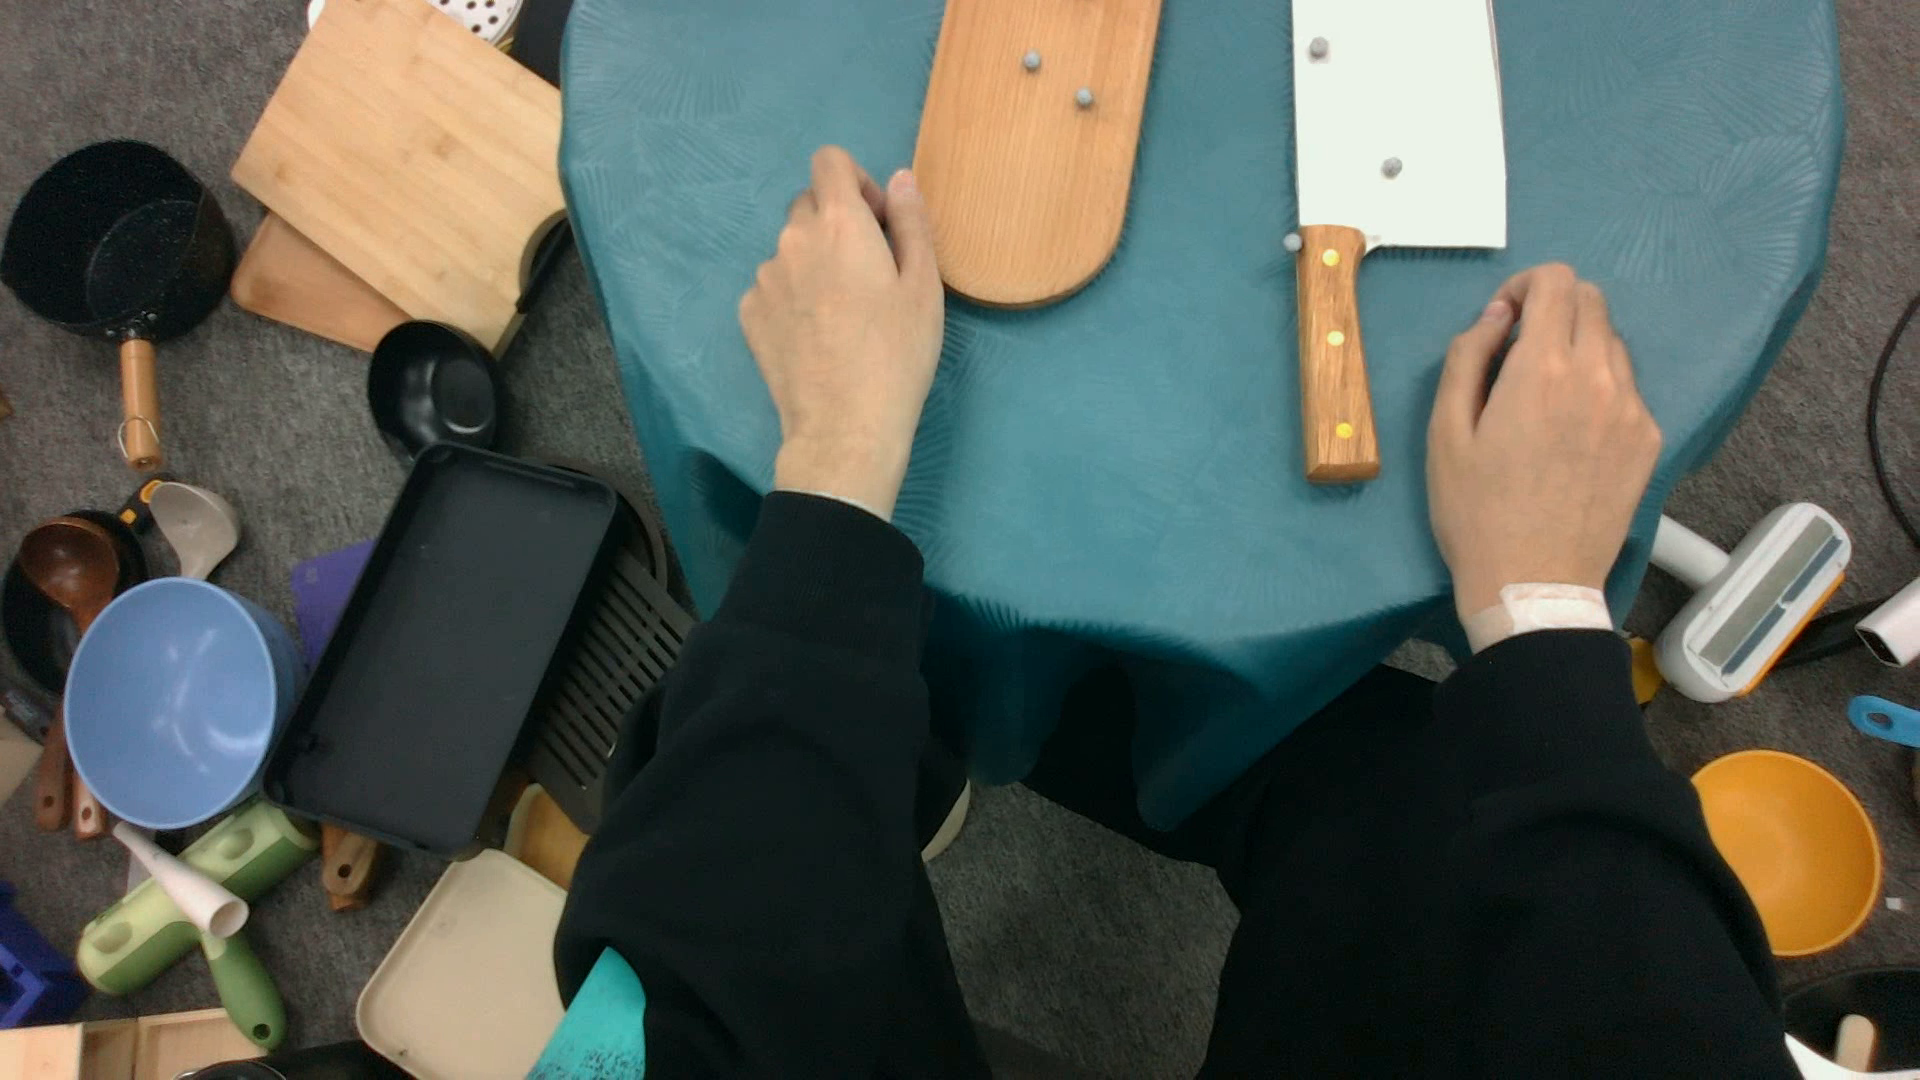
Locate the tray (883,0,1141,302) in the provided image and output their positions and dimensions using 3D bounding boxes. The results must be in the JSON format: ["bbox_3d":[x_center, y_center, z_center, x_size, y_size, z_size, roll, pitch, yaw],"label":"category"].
[{"bbox_3d":[0.027,-0.217,0.645,0.101,0.020,0.231,9,76,7],"label":"tray"}]

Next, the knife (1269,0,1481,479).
[{"bbox_3d":[0.186,-0.172,0.622,0.093,0.021,0.306,1,72,3],"label":"knife"}]
